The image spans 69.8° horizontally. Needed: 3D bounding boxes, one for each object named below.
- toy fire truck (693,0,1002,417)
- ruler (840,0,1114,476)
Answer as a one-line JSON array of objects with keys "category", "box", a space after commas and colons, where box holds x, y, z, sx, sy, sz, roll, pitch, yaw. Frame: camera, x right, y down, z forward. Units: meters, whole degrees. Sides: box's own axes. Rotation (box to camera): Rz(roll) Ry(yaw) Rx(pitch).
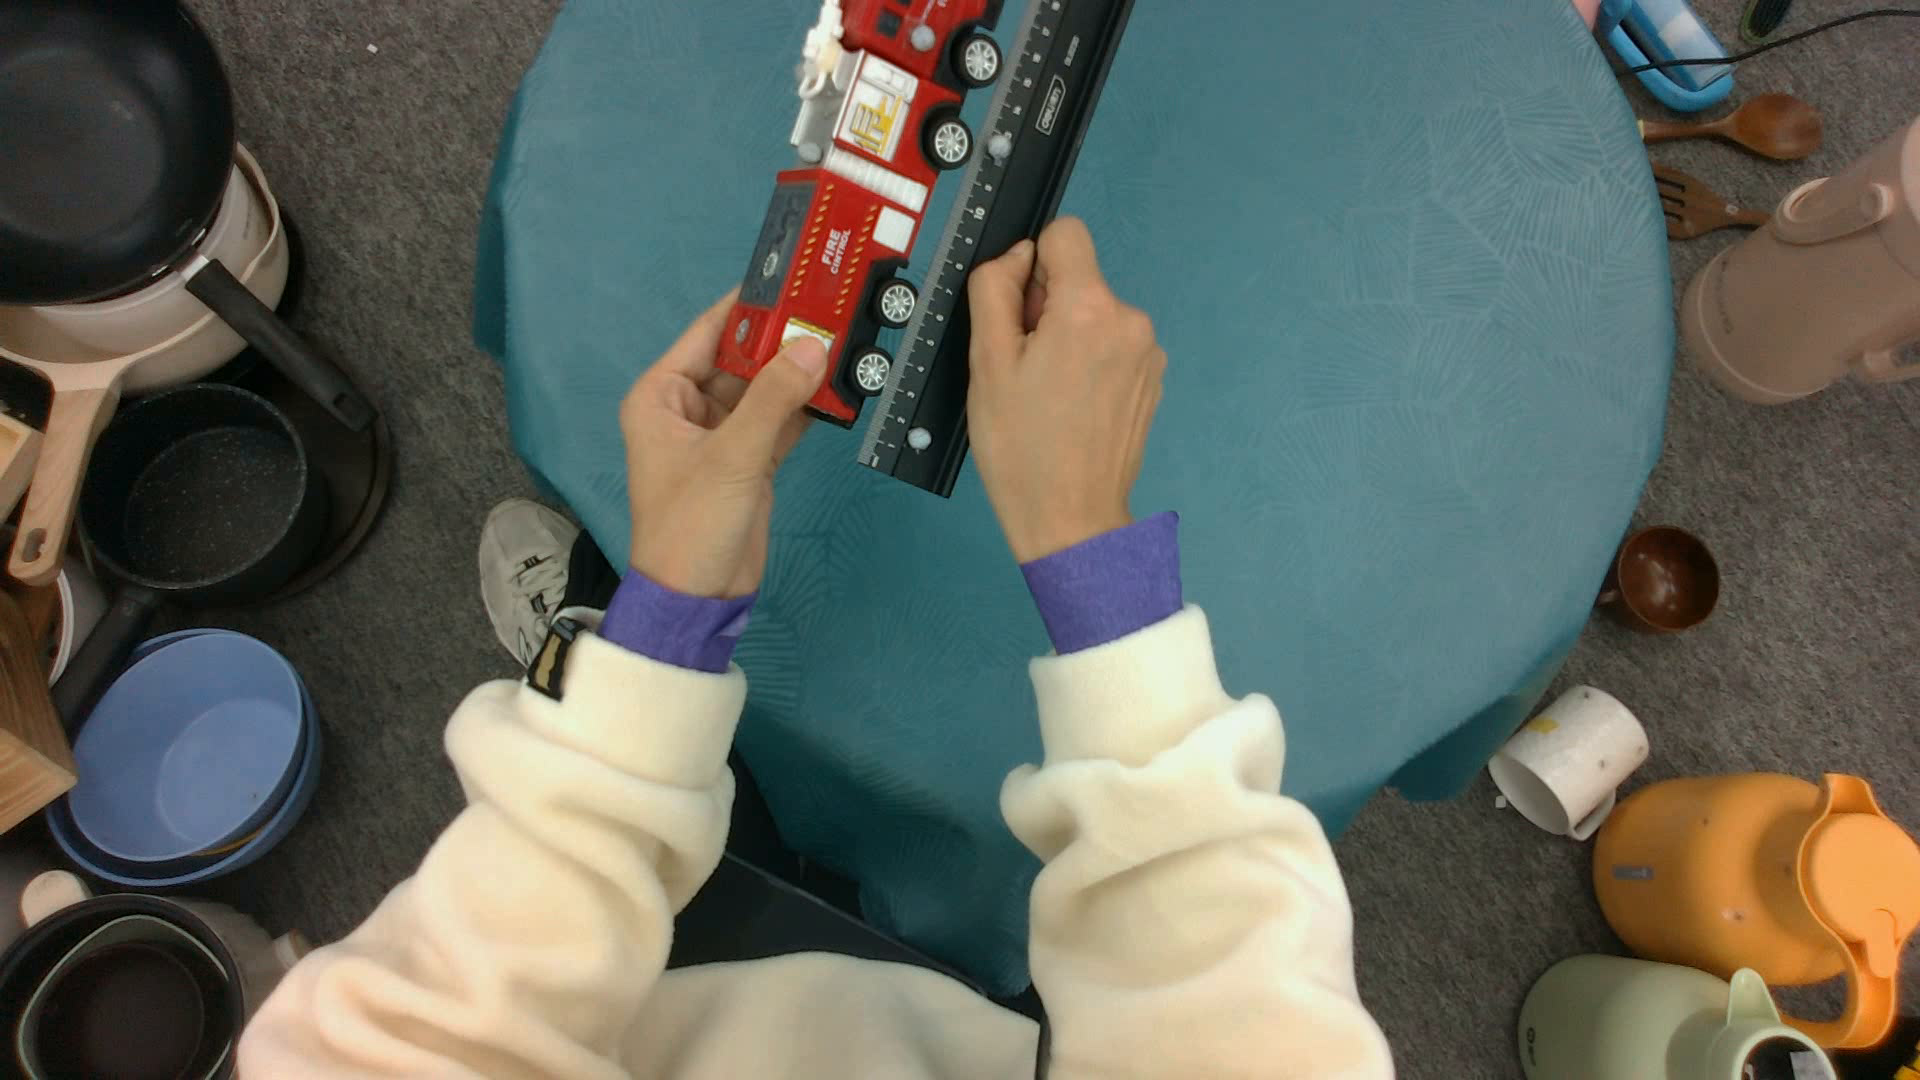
[{"category": "toy fire truck", "box": [-0.043, -0.131, 0.499, 0.070, 0.054, 0.168, 16, 93, -31]}, {"category": "ruler", "box": [0.031, -0.174, 0.499, 0.039, 0.017, 0.312, 22, 88, -24]}]
